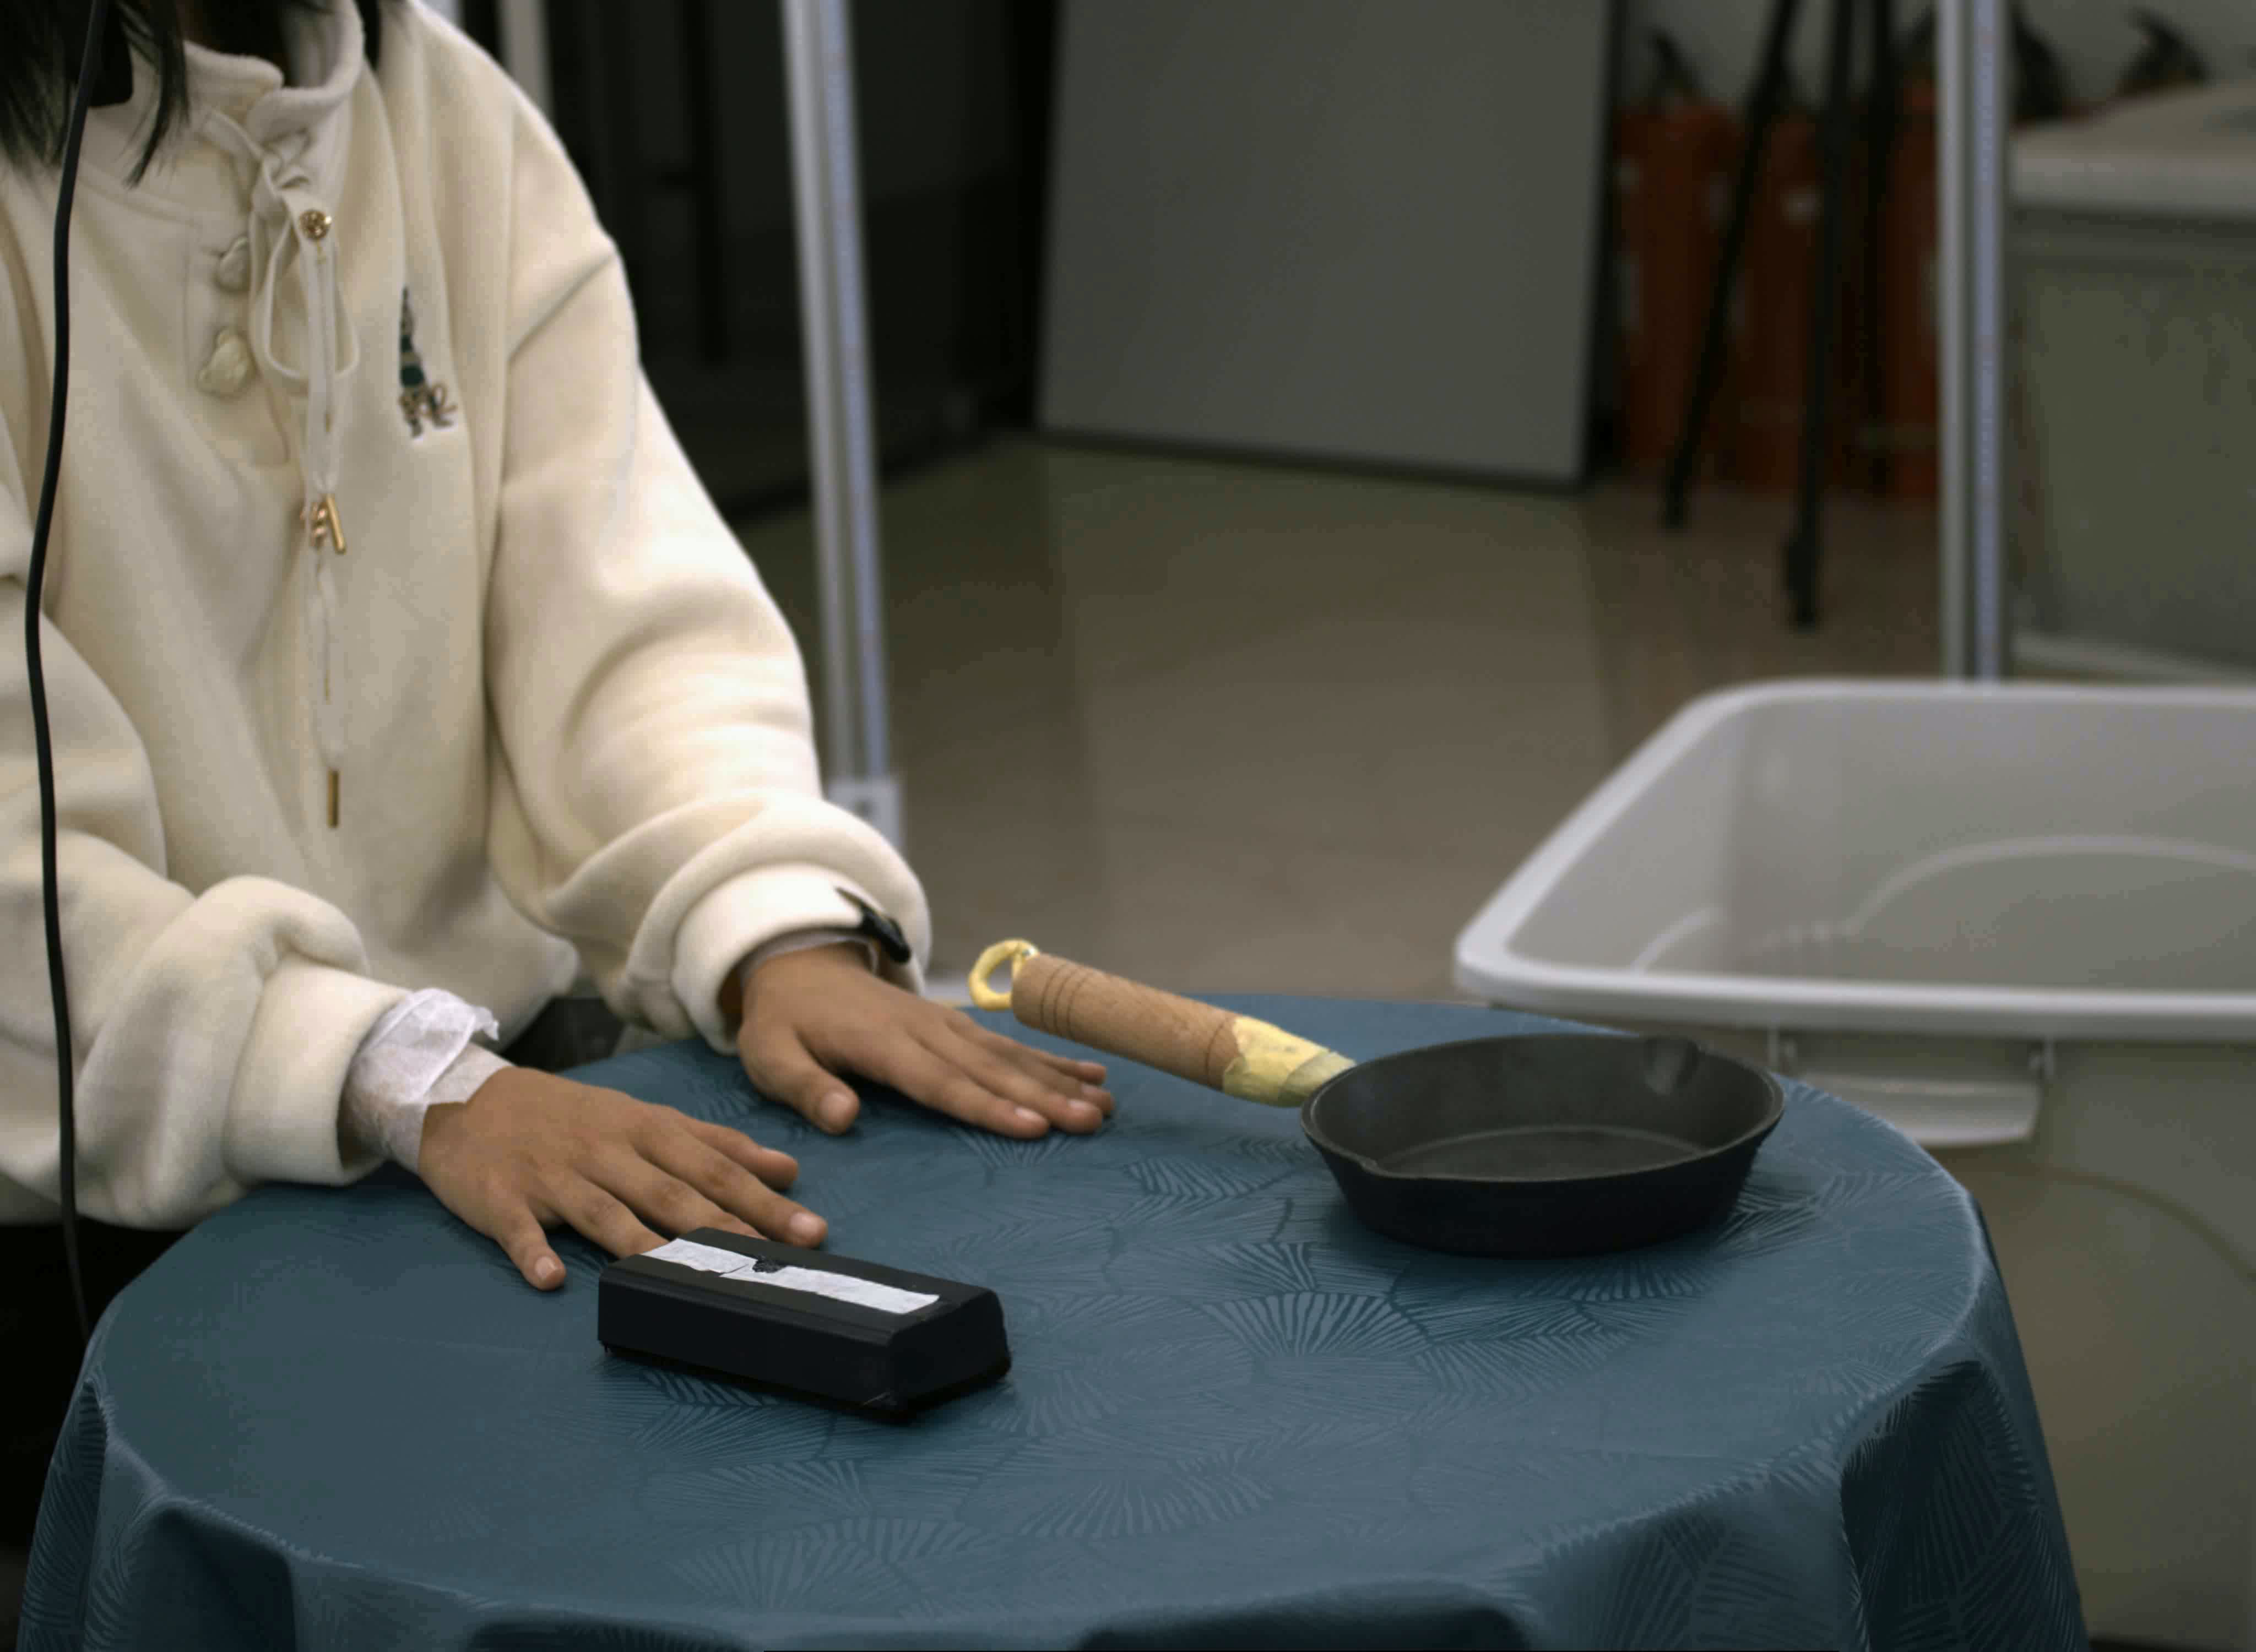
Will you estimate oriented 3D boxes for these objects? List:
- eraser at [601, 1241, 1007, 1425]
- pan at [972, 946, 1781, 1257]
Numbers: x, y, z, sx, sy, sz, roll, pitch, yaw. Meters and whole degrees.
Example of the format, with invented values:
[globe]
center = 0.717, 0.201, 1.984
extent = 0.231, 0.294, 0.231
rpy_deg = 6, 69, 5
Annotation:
[eraser]
center = -0.097, 0.151, 1.621
extent = 0.126, 0.031, 0.052
rpy_deg = 7, 16, 41
[pan]
center = 0.071, 0.085, 1.786
extent = 0.327, 0.050, 0.165
rpy_deg = 10, 20, 42
